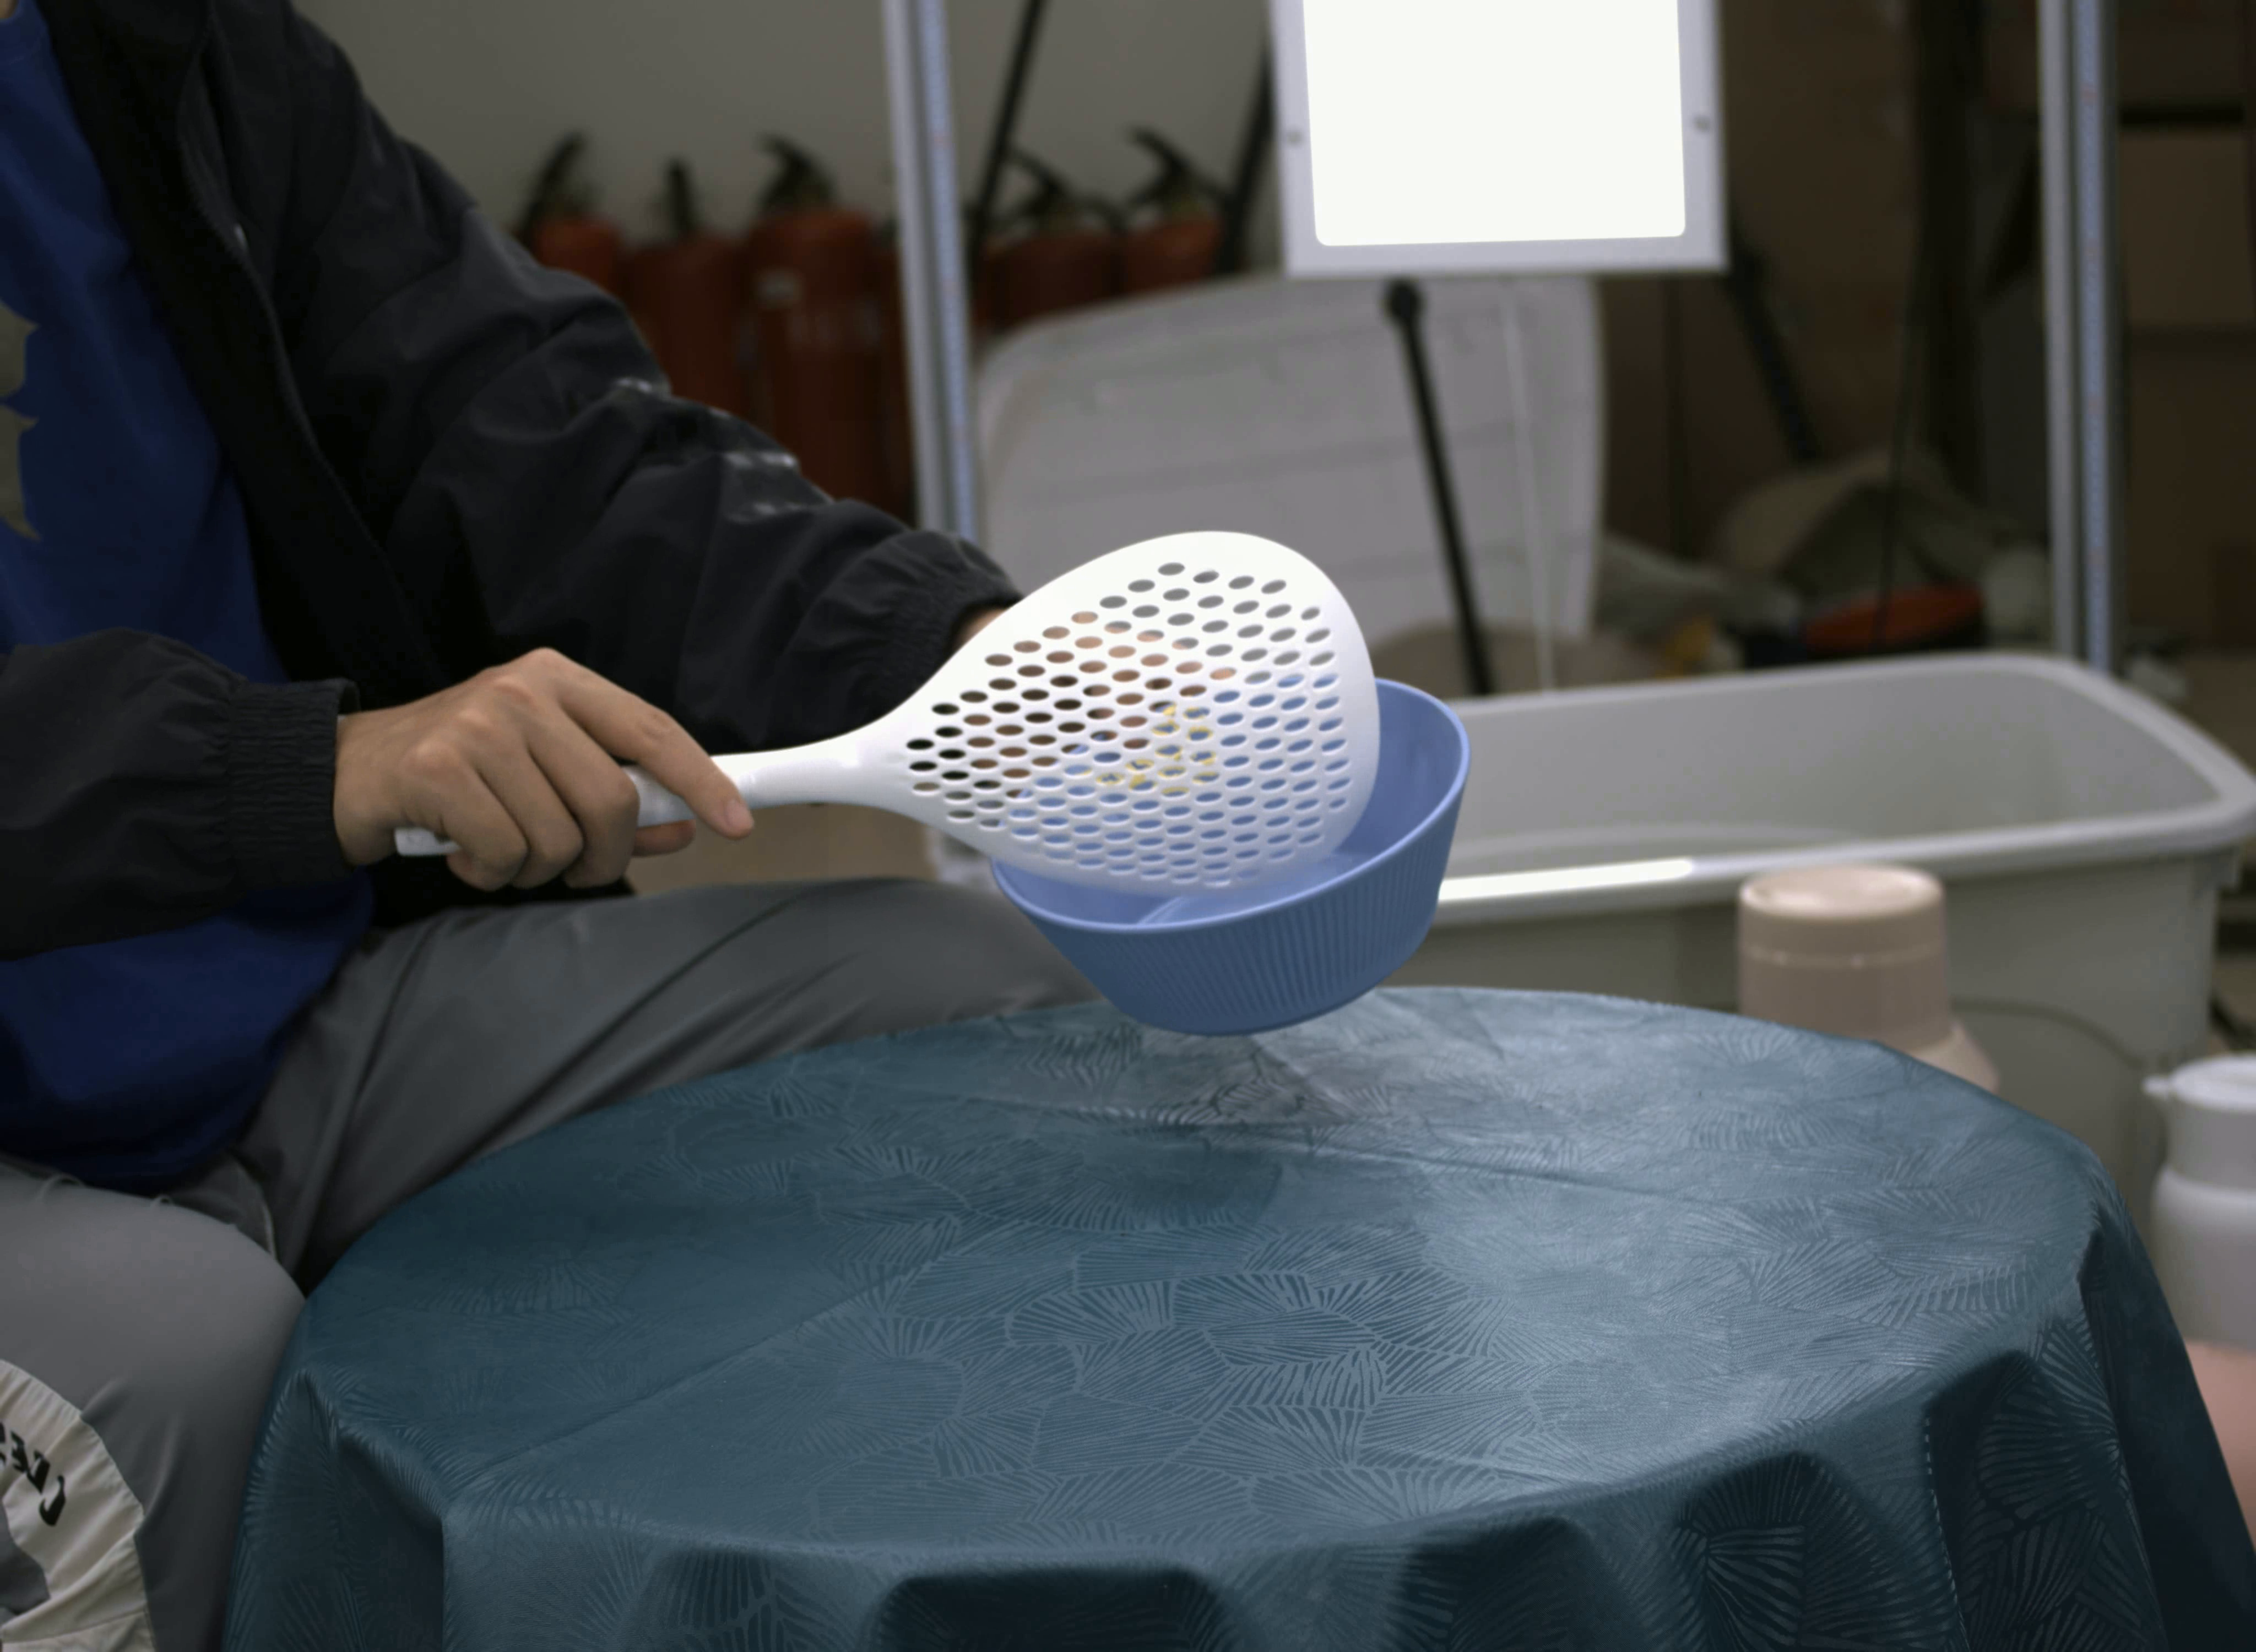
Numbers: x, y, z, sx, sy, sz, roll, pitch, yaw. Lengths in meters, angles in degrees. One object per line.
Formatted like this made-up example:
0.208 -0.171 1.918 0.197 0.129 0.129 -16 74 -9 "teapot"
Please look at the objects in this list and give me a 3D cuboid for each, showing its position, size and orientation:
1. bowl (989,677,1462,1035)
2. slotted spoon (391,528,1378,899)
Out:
0.043 0.017 1.962 0.177 0.070 0.175 -16 26 7 "bowl"
-0.084 -0.022 1.936 0.348 0.137 0.050 -6 20 4 "slotted spoon"
